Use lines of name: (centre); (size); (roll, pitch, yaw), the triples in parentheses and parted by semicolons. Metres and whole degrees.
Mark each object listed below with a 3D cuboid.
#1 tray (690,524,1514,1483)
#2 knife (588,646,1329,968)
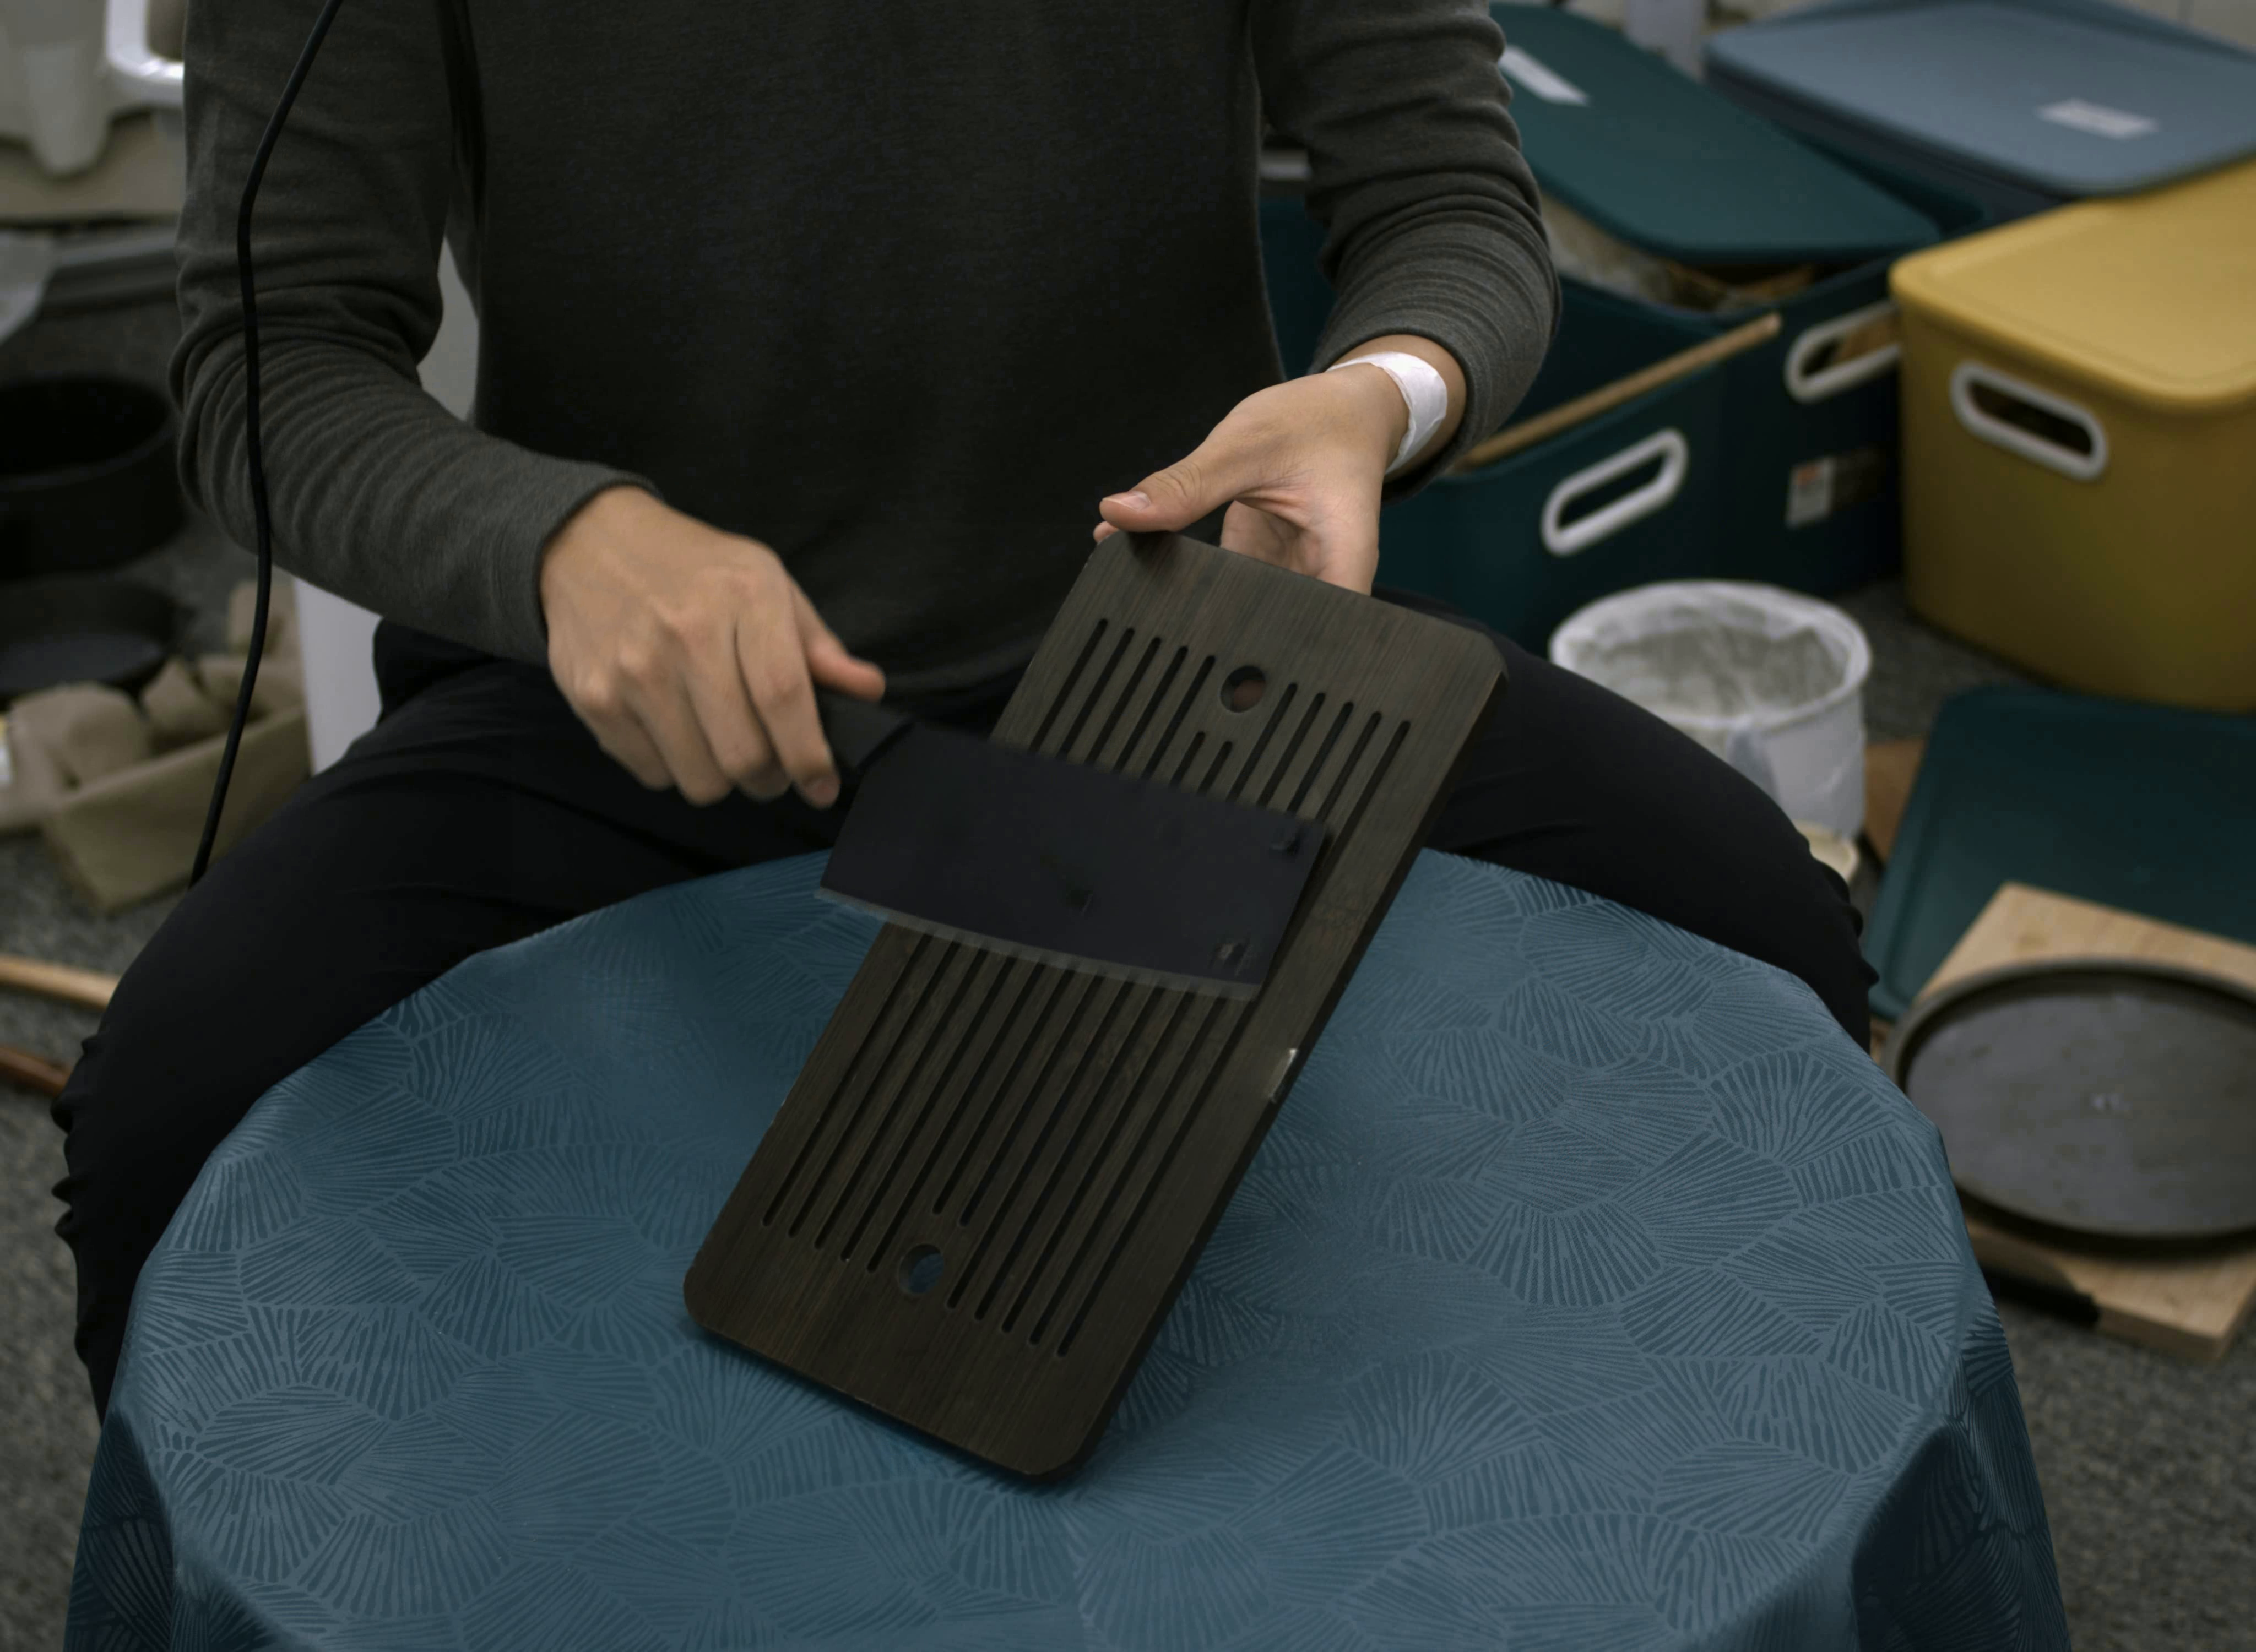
tray: (-0.007, 0.052, 1.789); (0.169, 0.018, 0.309); (18, 71, 37)
knife: (-0.063, -0.010, 1.846); (0.301, 0.021, 0.082); (18, 75, 36)
